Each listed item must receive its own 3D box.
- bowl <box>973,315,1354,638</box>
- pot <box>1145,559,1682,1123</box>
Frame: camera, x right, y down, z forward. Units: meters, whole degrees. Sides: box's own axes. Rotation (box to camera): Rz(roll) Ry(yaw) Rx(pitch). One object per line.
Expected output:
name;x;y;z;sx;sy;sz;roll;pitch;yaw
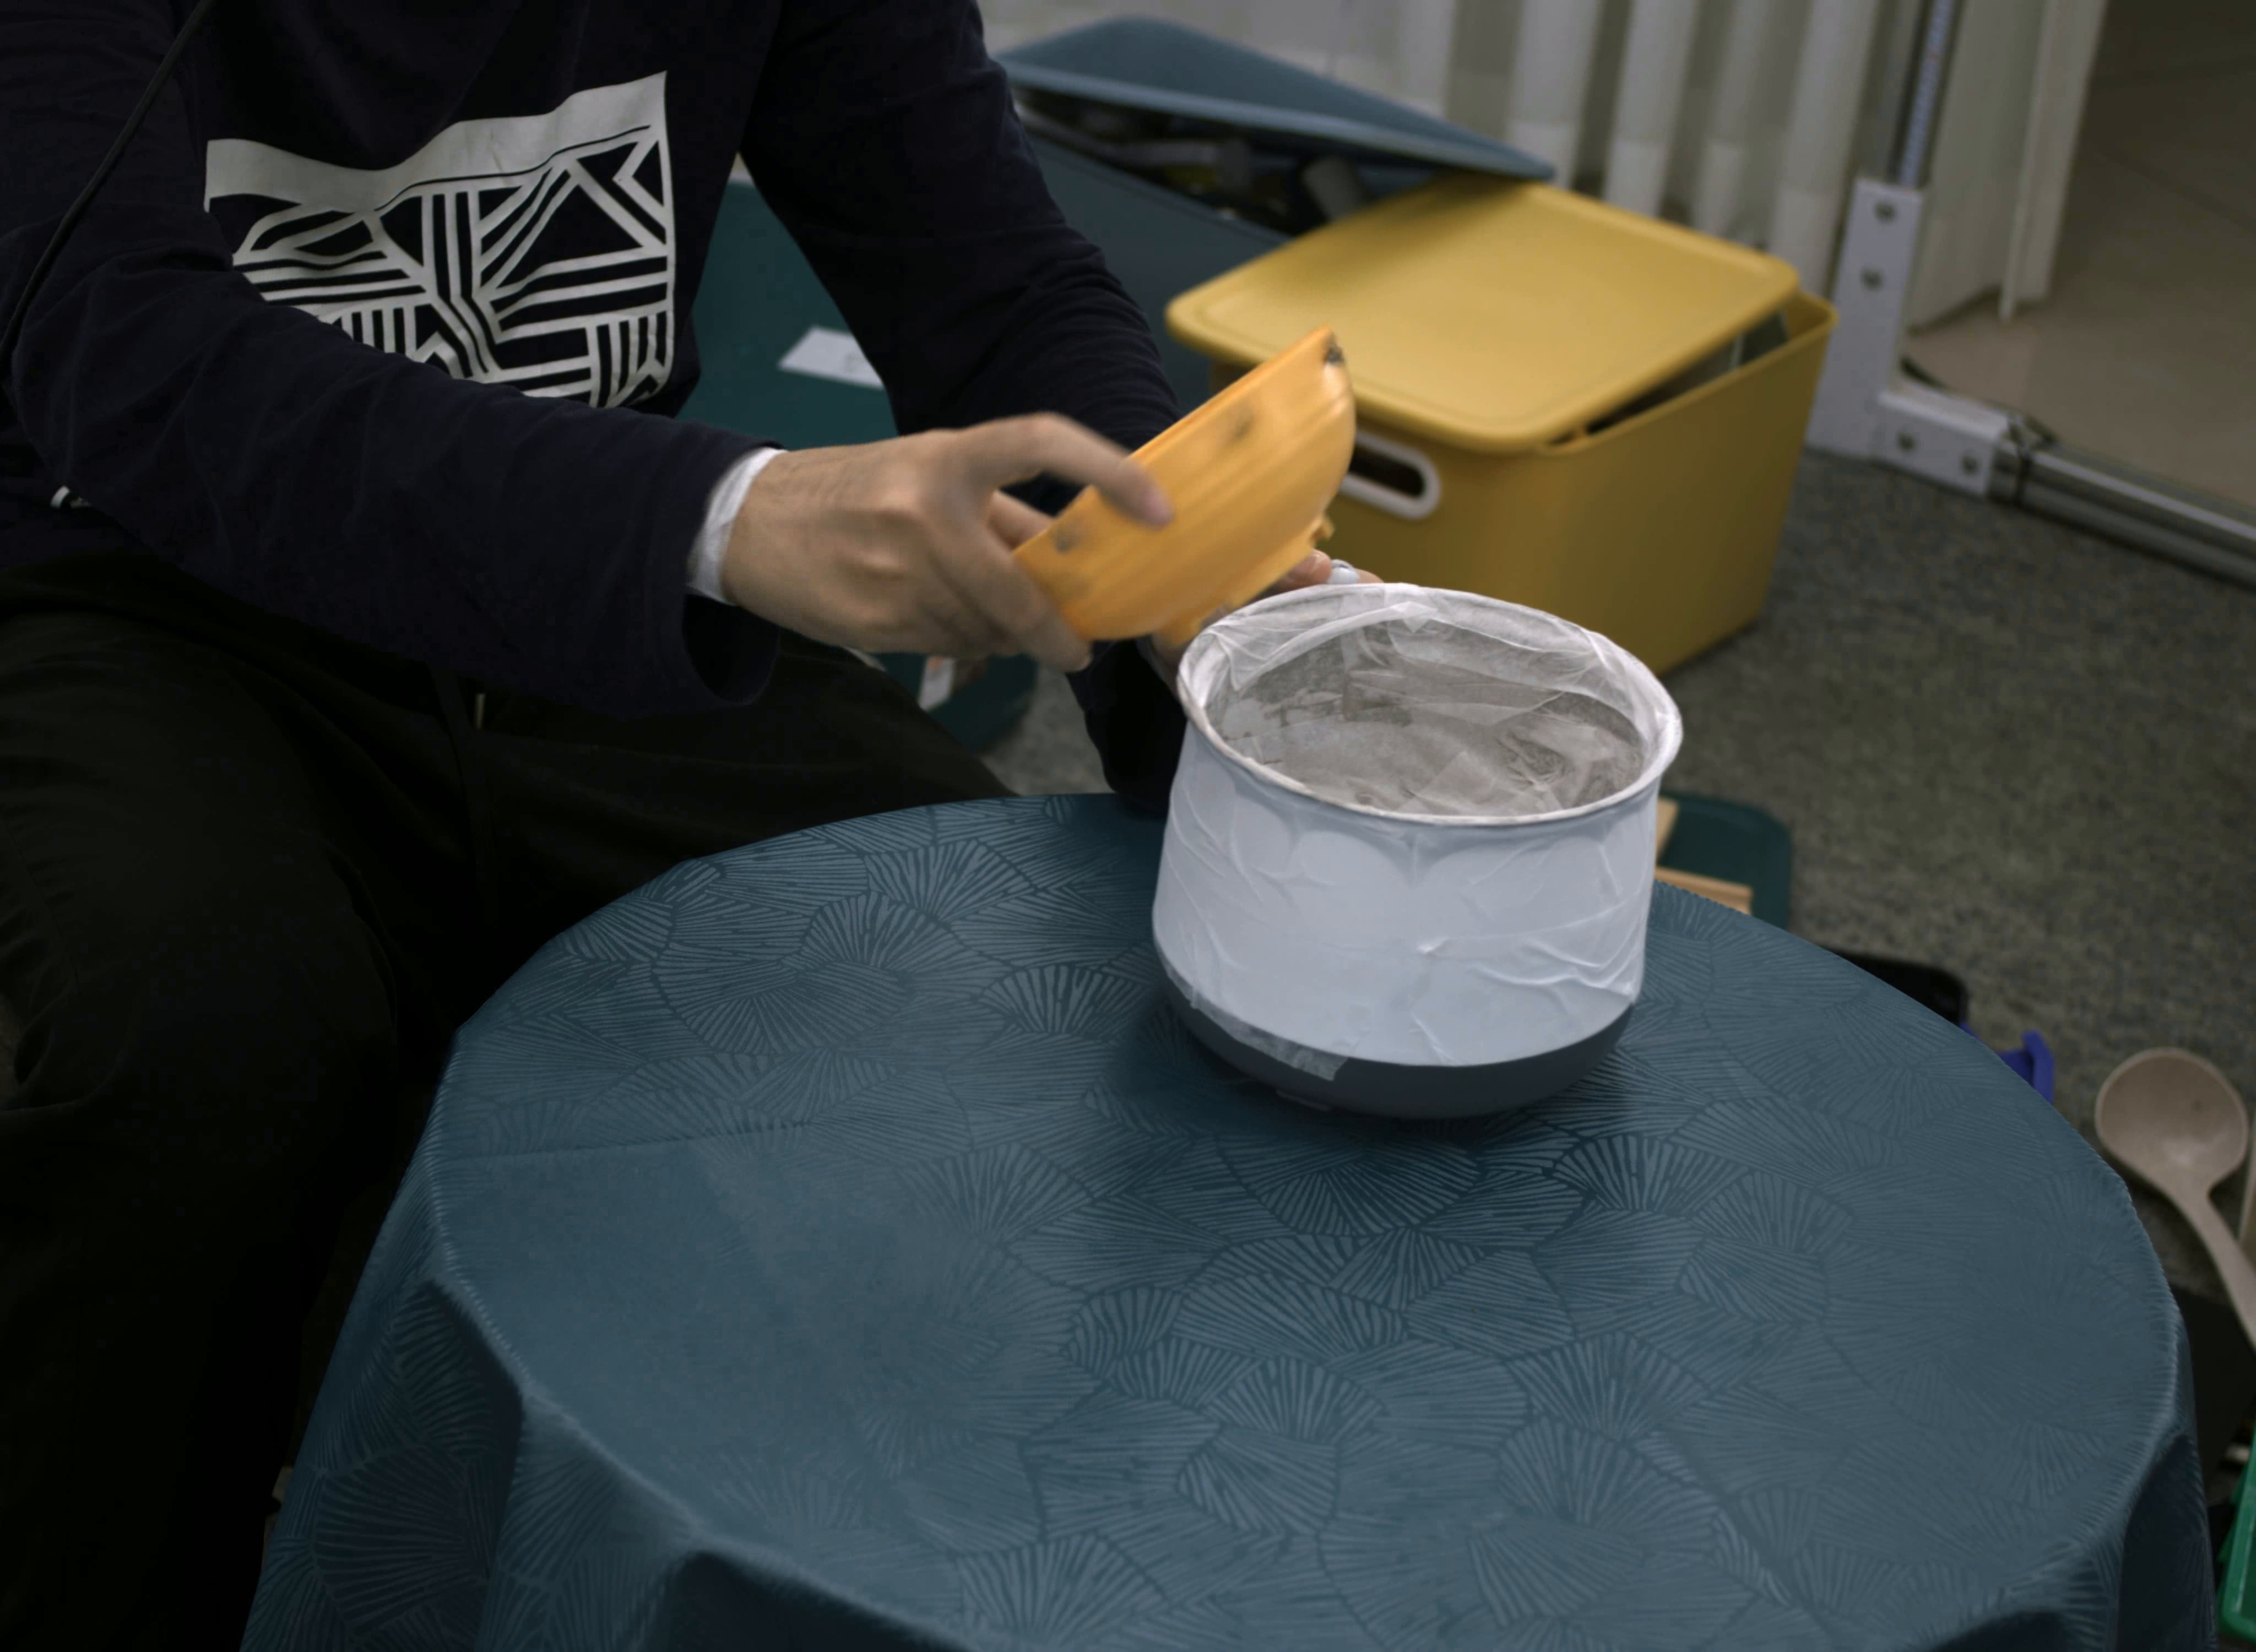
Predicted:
bowl;0.024;-0.105;1.757;0.060;0.145;0.145;55;35;-2
pot;0.089;-0.002;1.908;0.177;0.136;0.236;-3;30;-20
